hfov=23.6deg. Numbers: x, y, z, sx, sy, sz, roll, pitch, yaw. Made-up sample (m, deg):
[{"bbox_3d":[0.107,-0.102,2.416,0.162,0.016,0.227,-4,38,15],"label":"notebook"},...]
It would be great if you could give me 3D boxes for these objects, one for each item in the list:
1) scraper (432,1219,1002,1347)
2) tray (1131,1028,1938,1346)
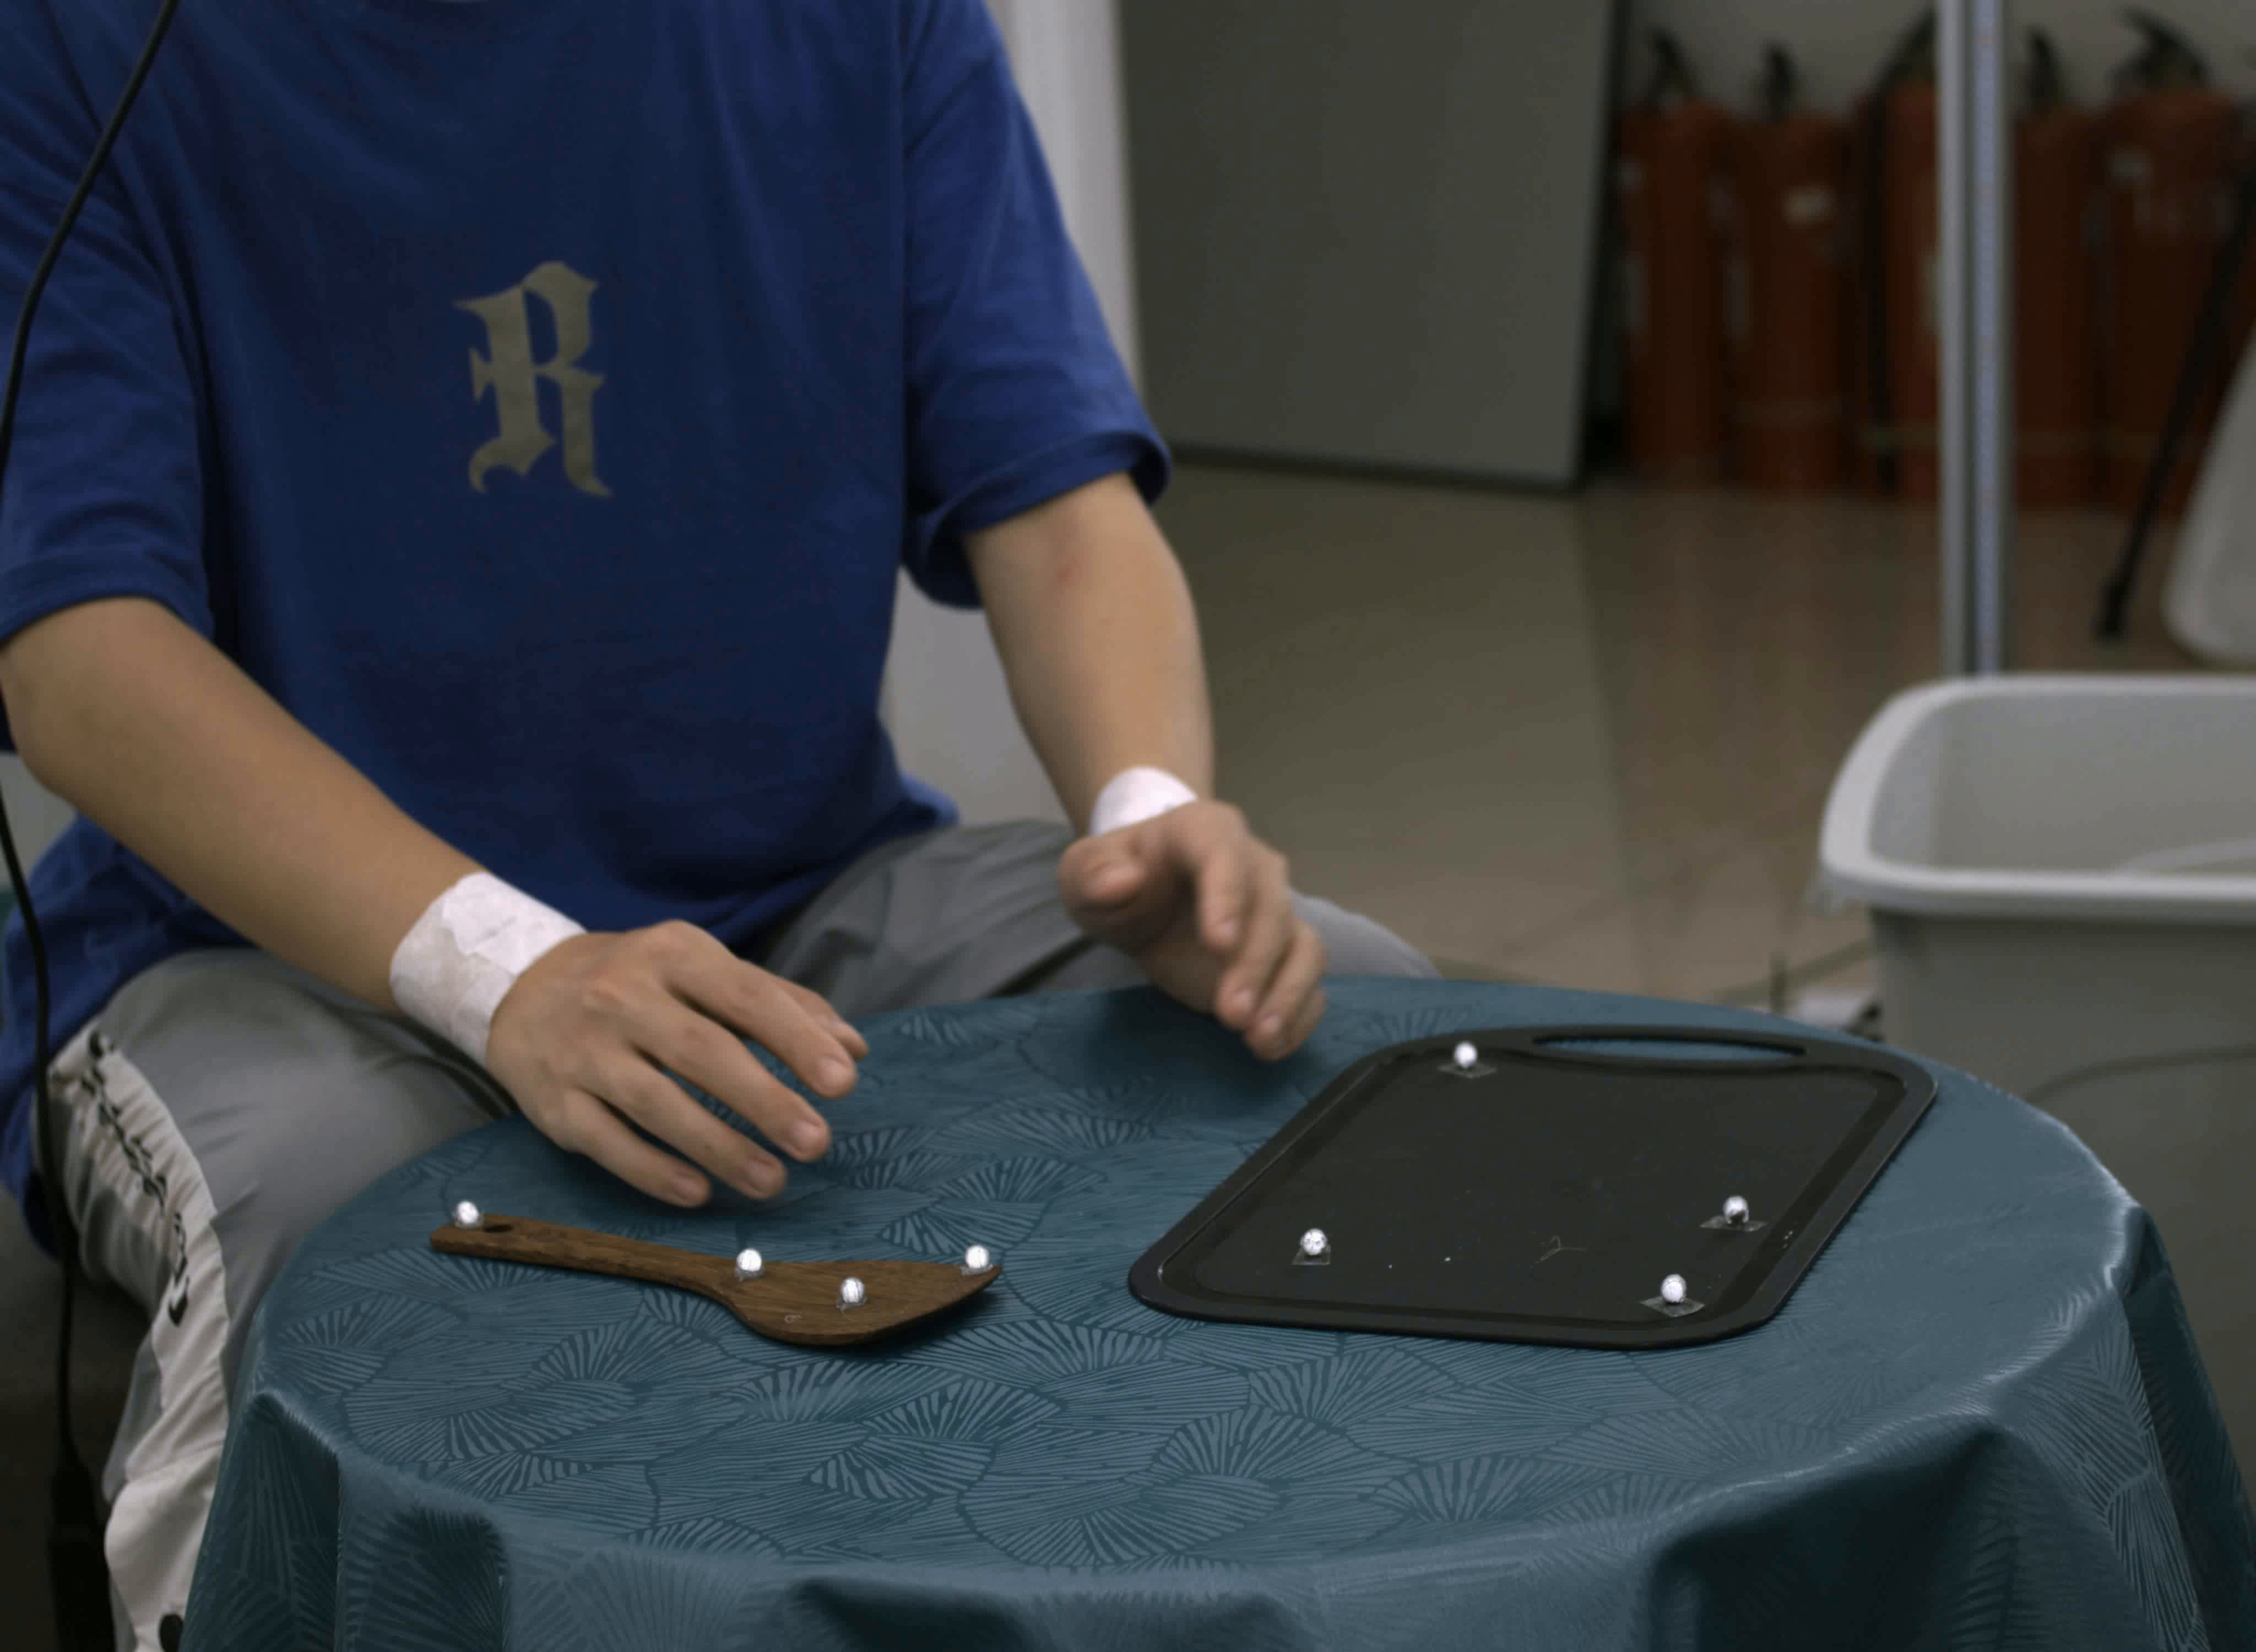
[{"bbox_3d":[-0.137,0.142,1.709,0.213,0.011,0.074,5,16,37],"label":"scraper"},{"bbox_3d":[0.140,0.111,1.760,0.211,0.010,0.322,2,15,22],"label":"tray"}]
